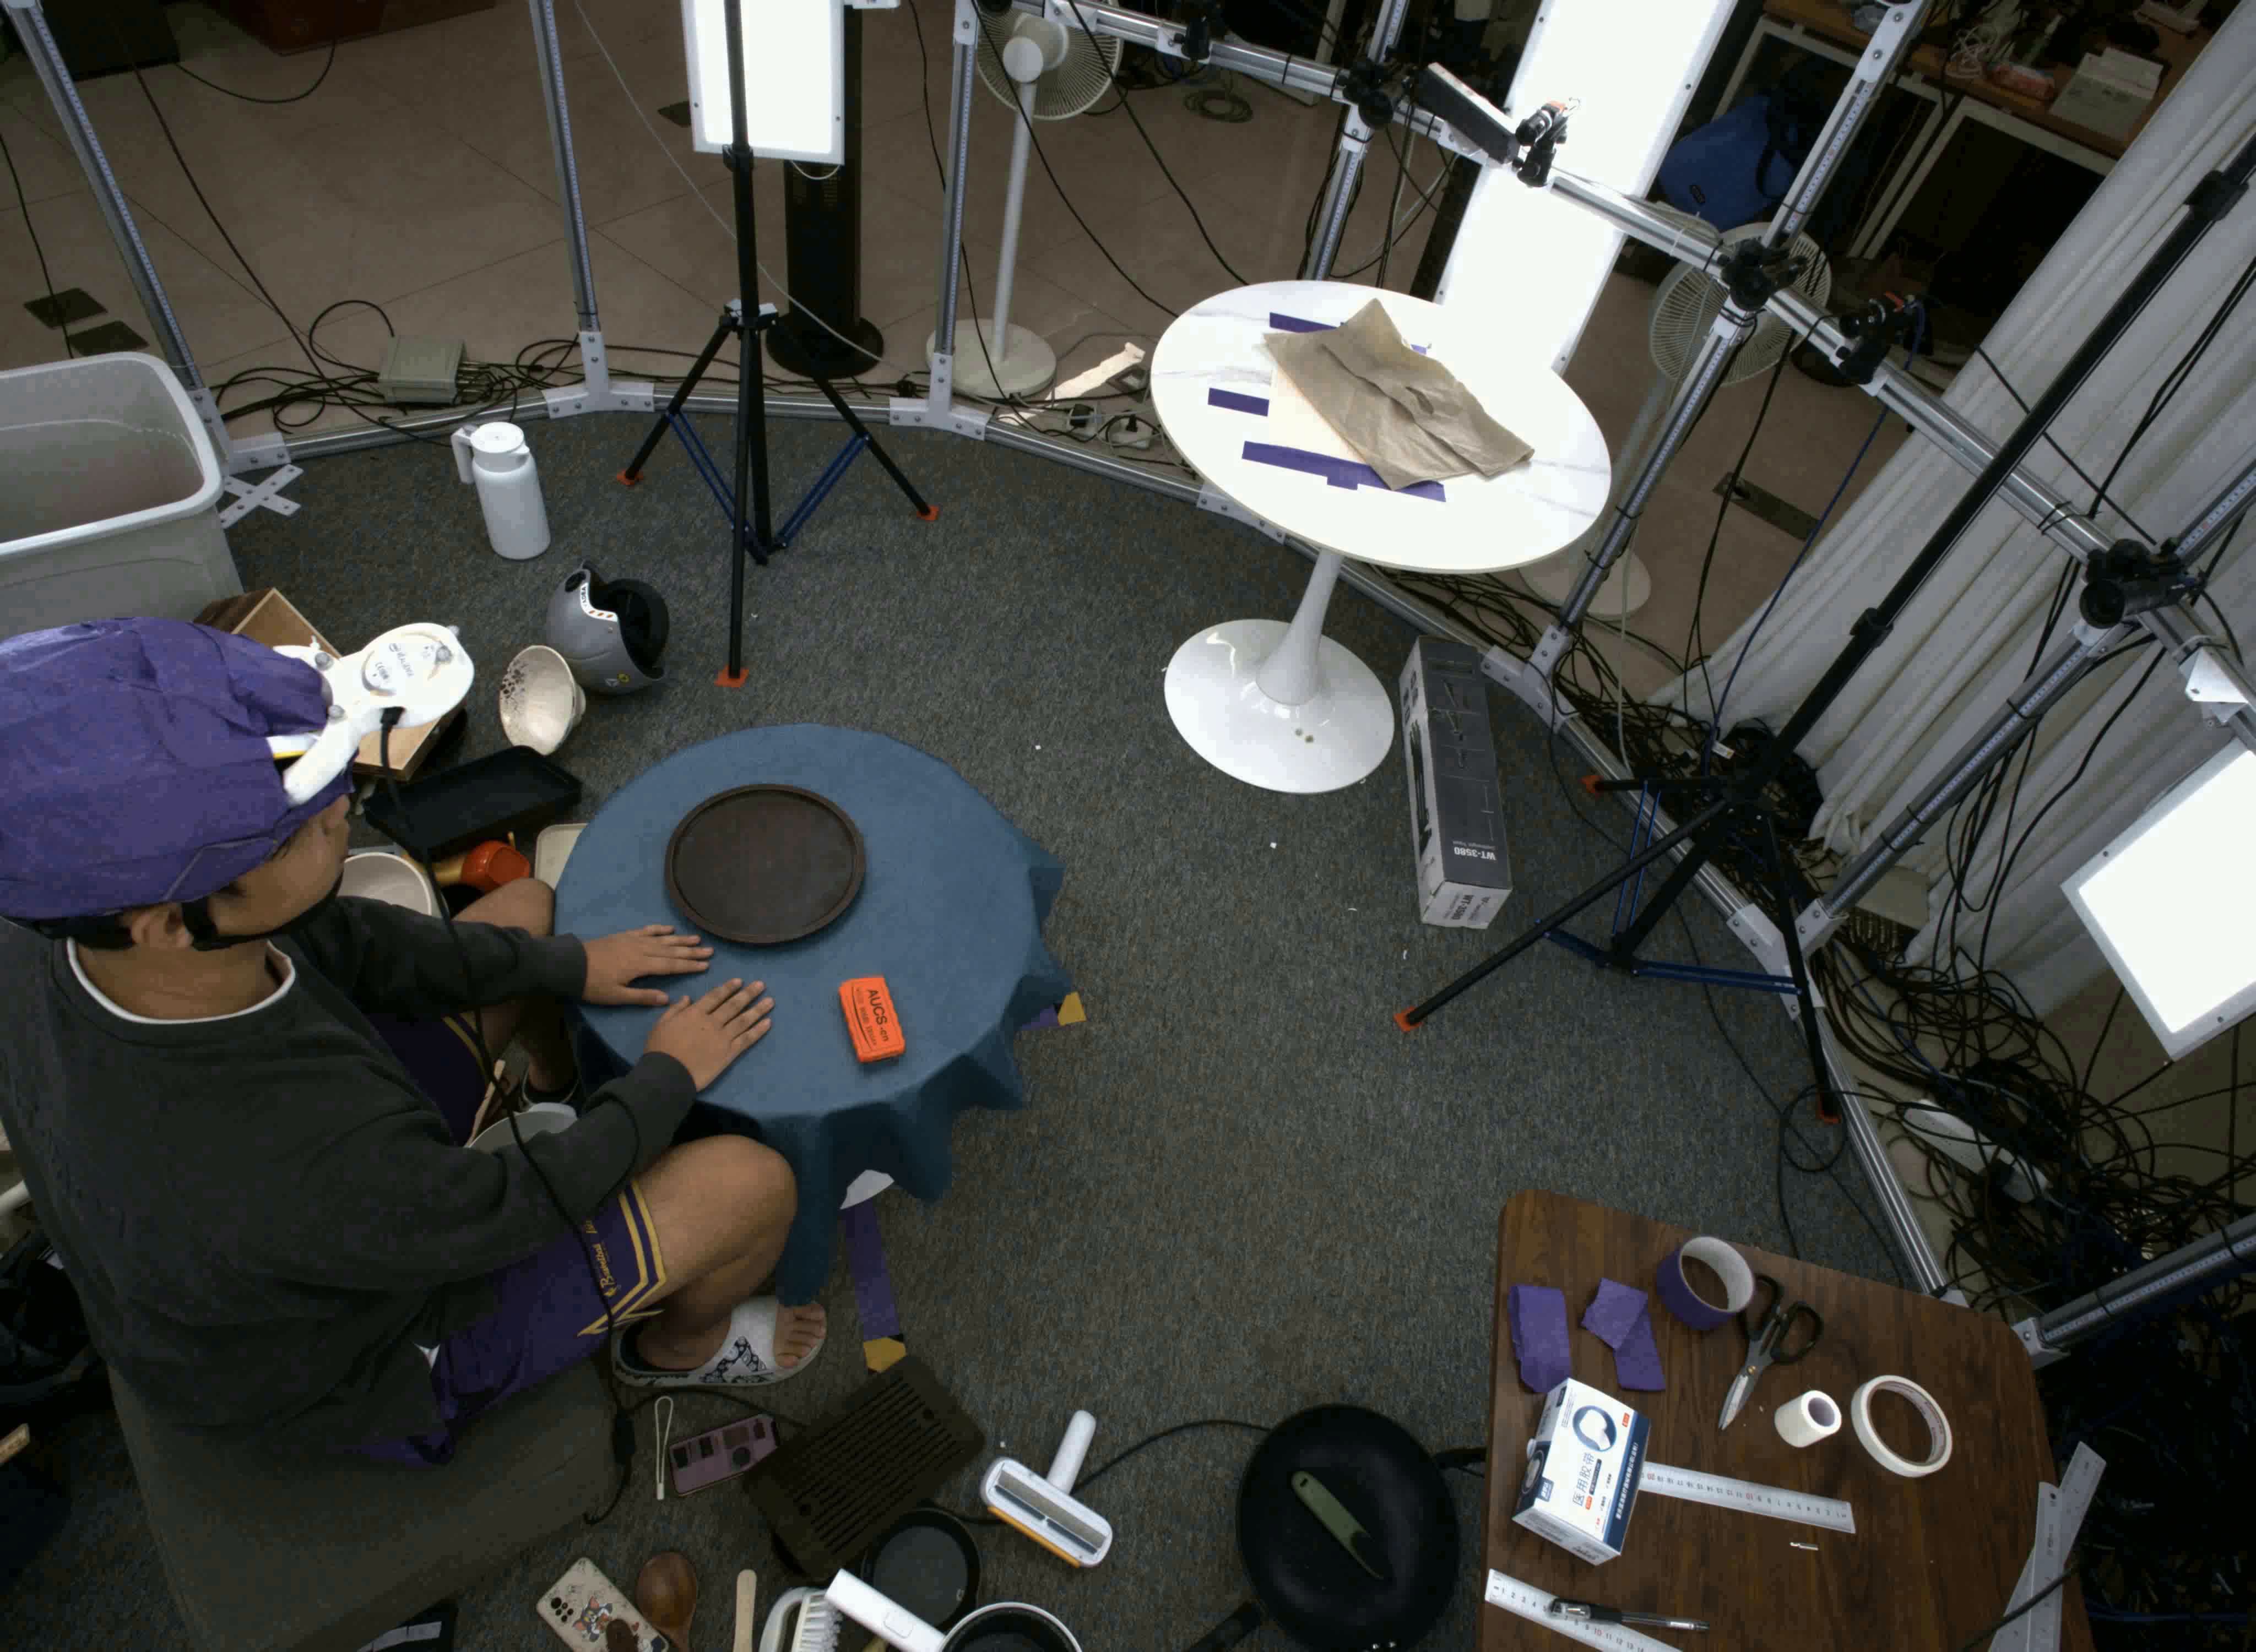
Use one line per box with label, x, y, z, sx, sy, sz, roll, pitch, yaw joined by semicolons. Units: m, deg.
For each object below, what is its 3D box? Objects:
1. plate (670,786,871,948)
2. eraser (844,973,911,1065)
plate;-0.459;0.049;1.669;0.254;0.029;0.250;9;53;-10
eraser;-0.303;0.229;1.569;0.059;0.023;0.105;-12;59;-23
